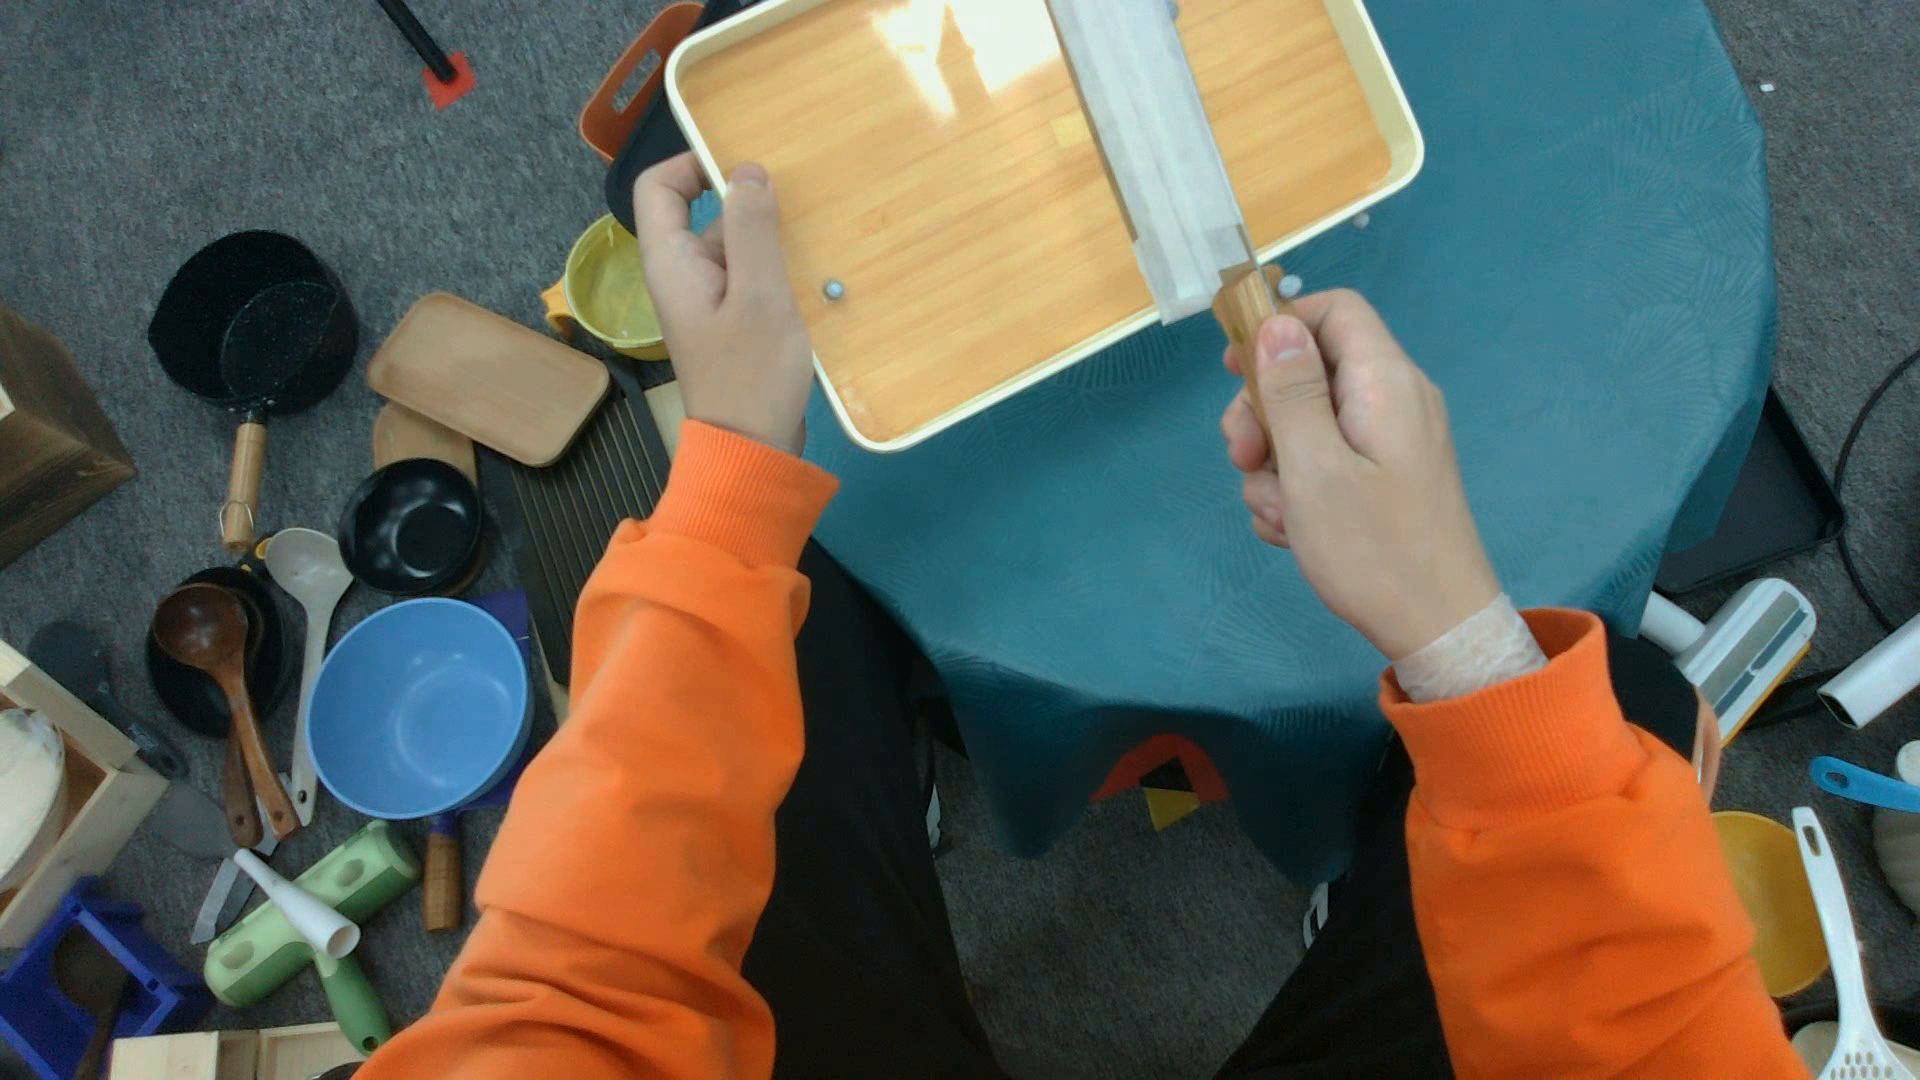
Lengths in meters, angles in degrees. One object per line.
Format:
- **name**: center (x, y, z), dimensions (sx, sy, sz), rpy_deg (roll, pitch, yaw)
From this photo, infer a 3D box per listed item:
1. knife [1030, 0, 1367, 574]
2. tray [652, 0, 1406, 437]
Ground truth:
- **knife**: center (0.077, -0.129, 0.526), dimensions (0.021, 0.093, 0.305), rpy_deg (-25, 96, -13)
- **tray**: center (0.037, -0.191, 0.611), dimensions (0.301, 0.027, 0.191), rpy_deg (-29, 97, -10)
